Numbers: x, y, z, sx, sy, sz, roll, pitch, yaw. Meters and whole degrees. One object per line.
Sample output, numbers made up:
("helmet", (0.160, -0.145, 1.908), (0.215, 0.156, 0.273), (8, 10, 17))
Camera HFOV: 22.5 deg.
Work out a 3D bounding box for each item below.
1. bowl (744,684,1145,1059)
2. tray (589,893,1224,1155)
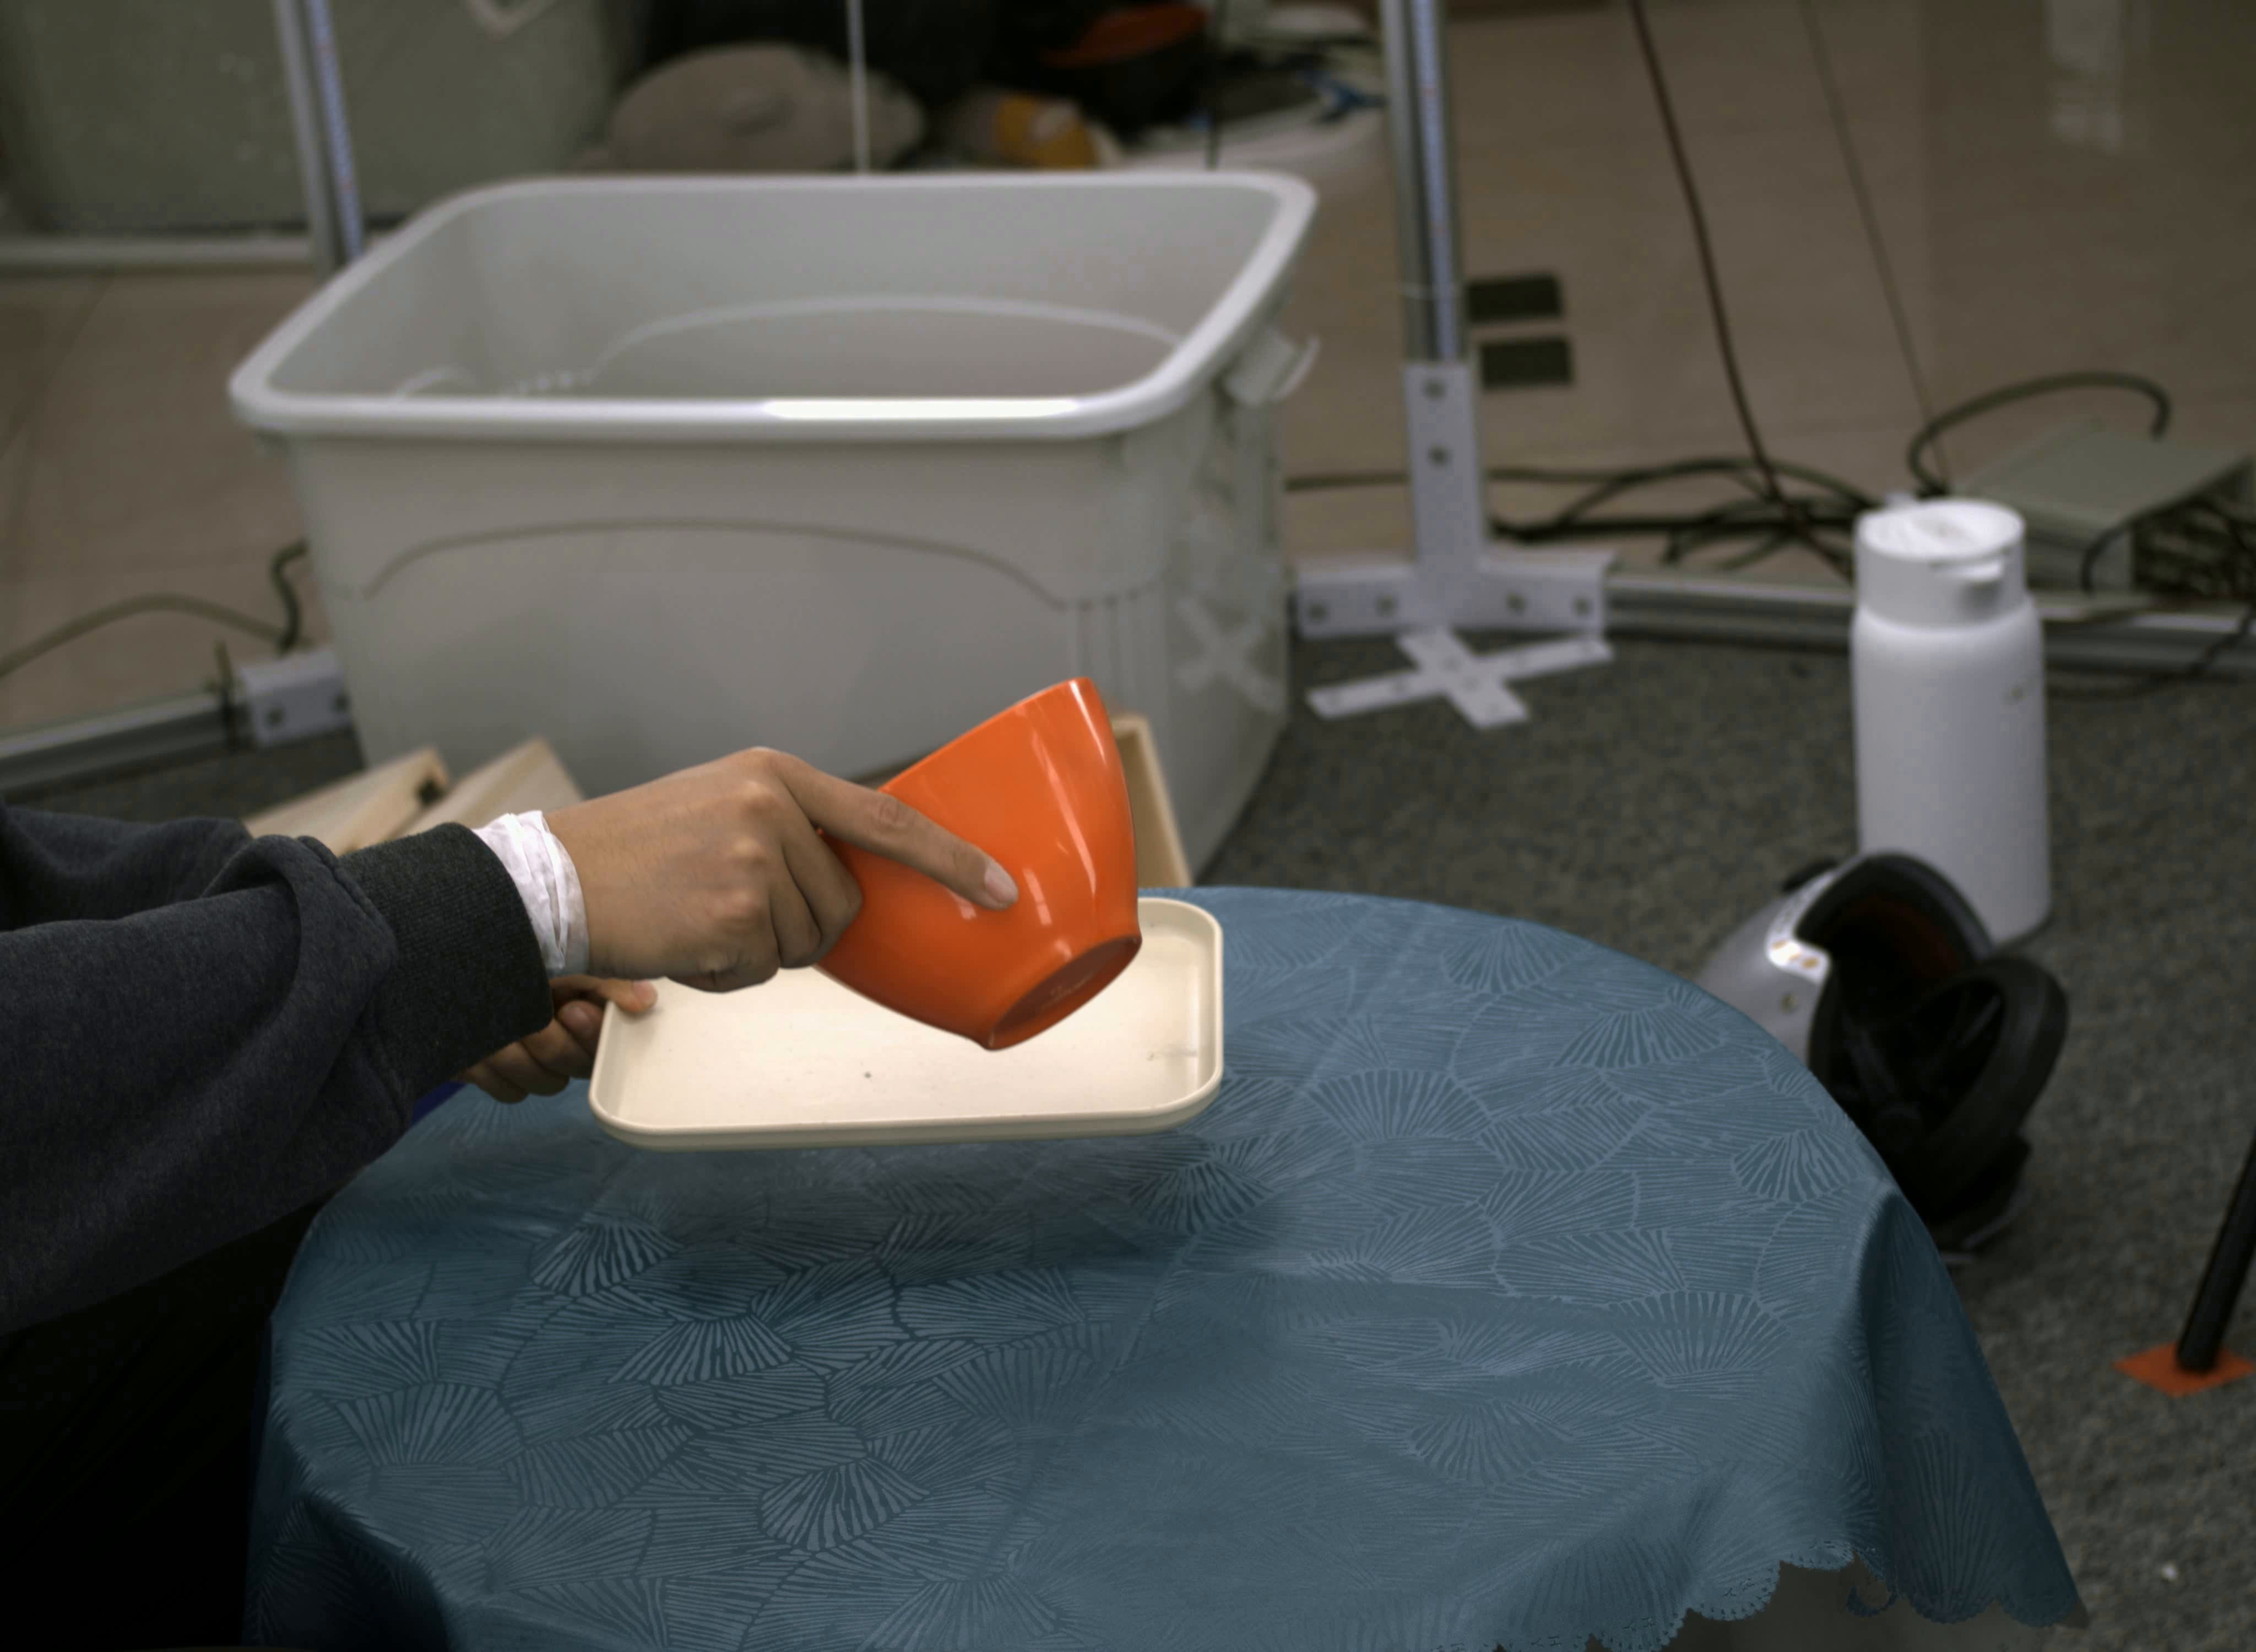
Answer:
("bowl", (-0.049, 0.023, 1.965), (0.147, 0.150, 0.104), (-24, 73, -34))
("tray", (-0.082, 0.077, 2.168), (0.239, 0.018, 0.168), (-3, 28, 2))
